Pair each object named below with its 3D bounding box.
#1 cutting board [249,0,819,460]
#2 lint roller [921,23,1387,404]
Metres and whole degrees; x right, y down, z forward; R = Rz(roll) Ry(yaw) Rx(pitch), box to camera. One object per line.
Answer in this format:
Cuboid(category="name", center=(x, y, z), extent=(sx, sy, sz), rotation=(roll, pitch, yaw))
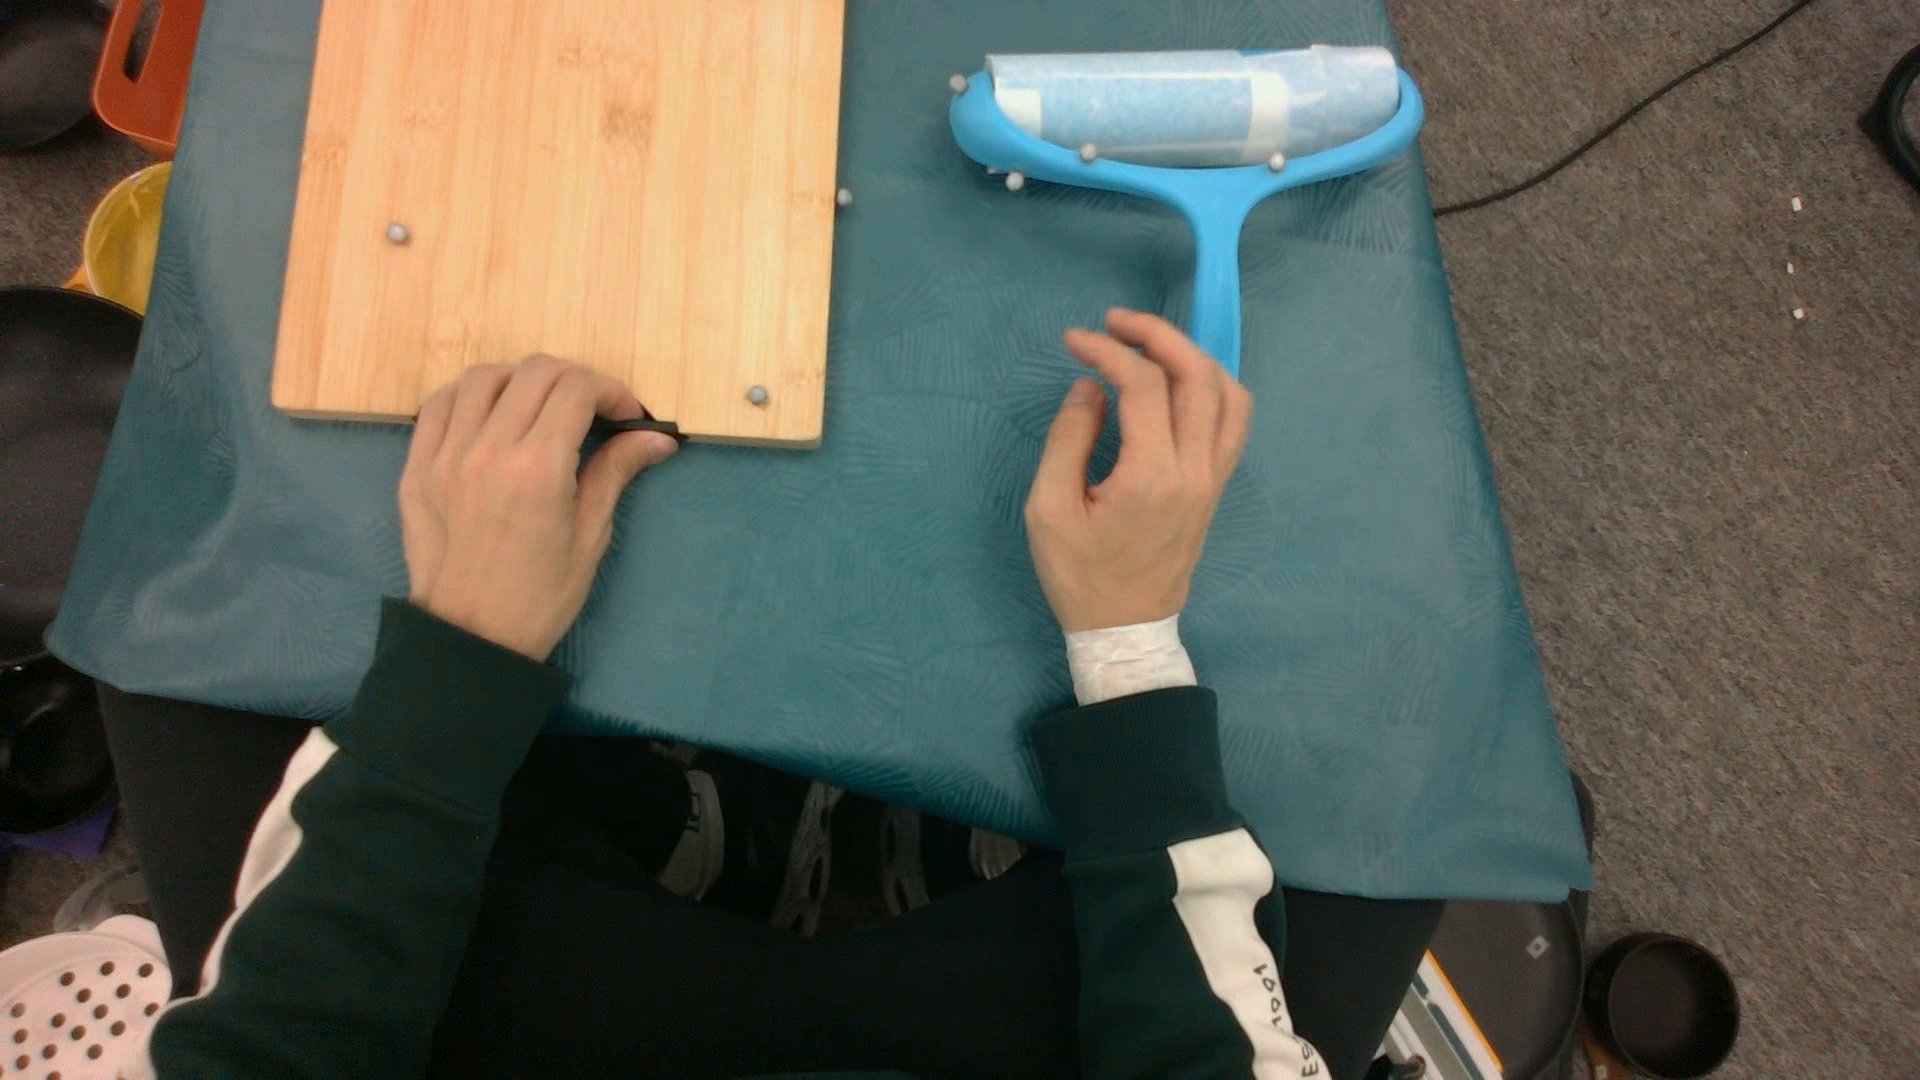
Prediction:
Cuboid(category="cutting board", center=(-0.191, -0.210, 0.657), extent=(0.251, 0.023, 0.349), rotation=(0, 79, -6))
Cuboid(category="lint roller", center=(0.105, -0.160, 0.659), extent=(0.229, 0.068, 0.180), rotation=(-8, 79, -9))
